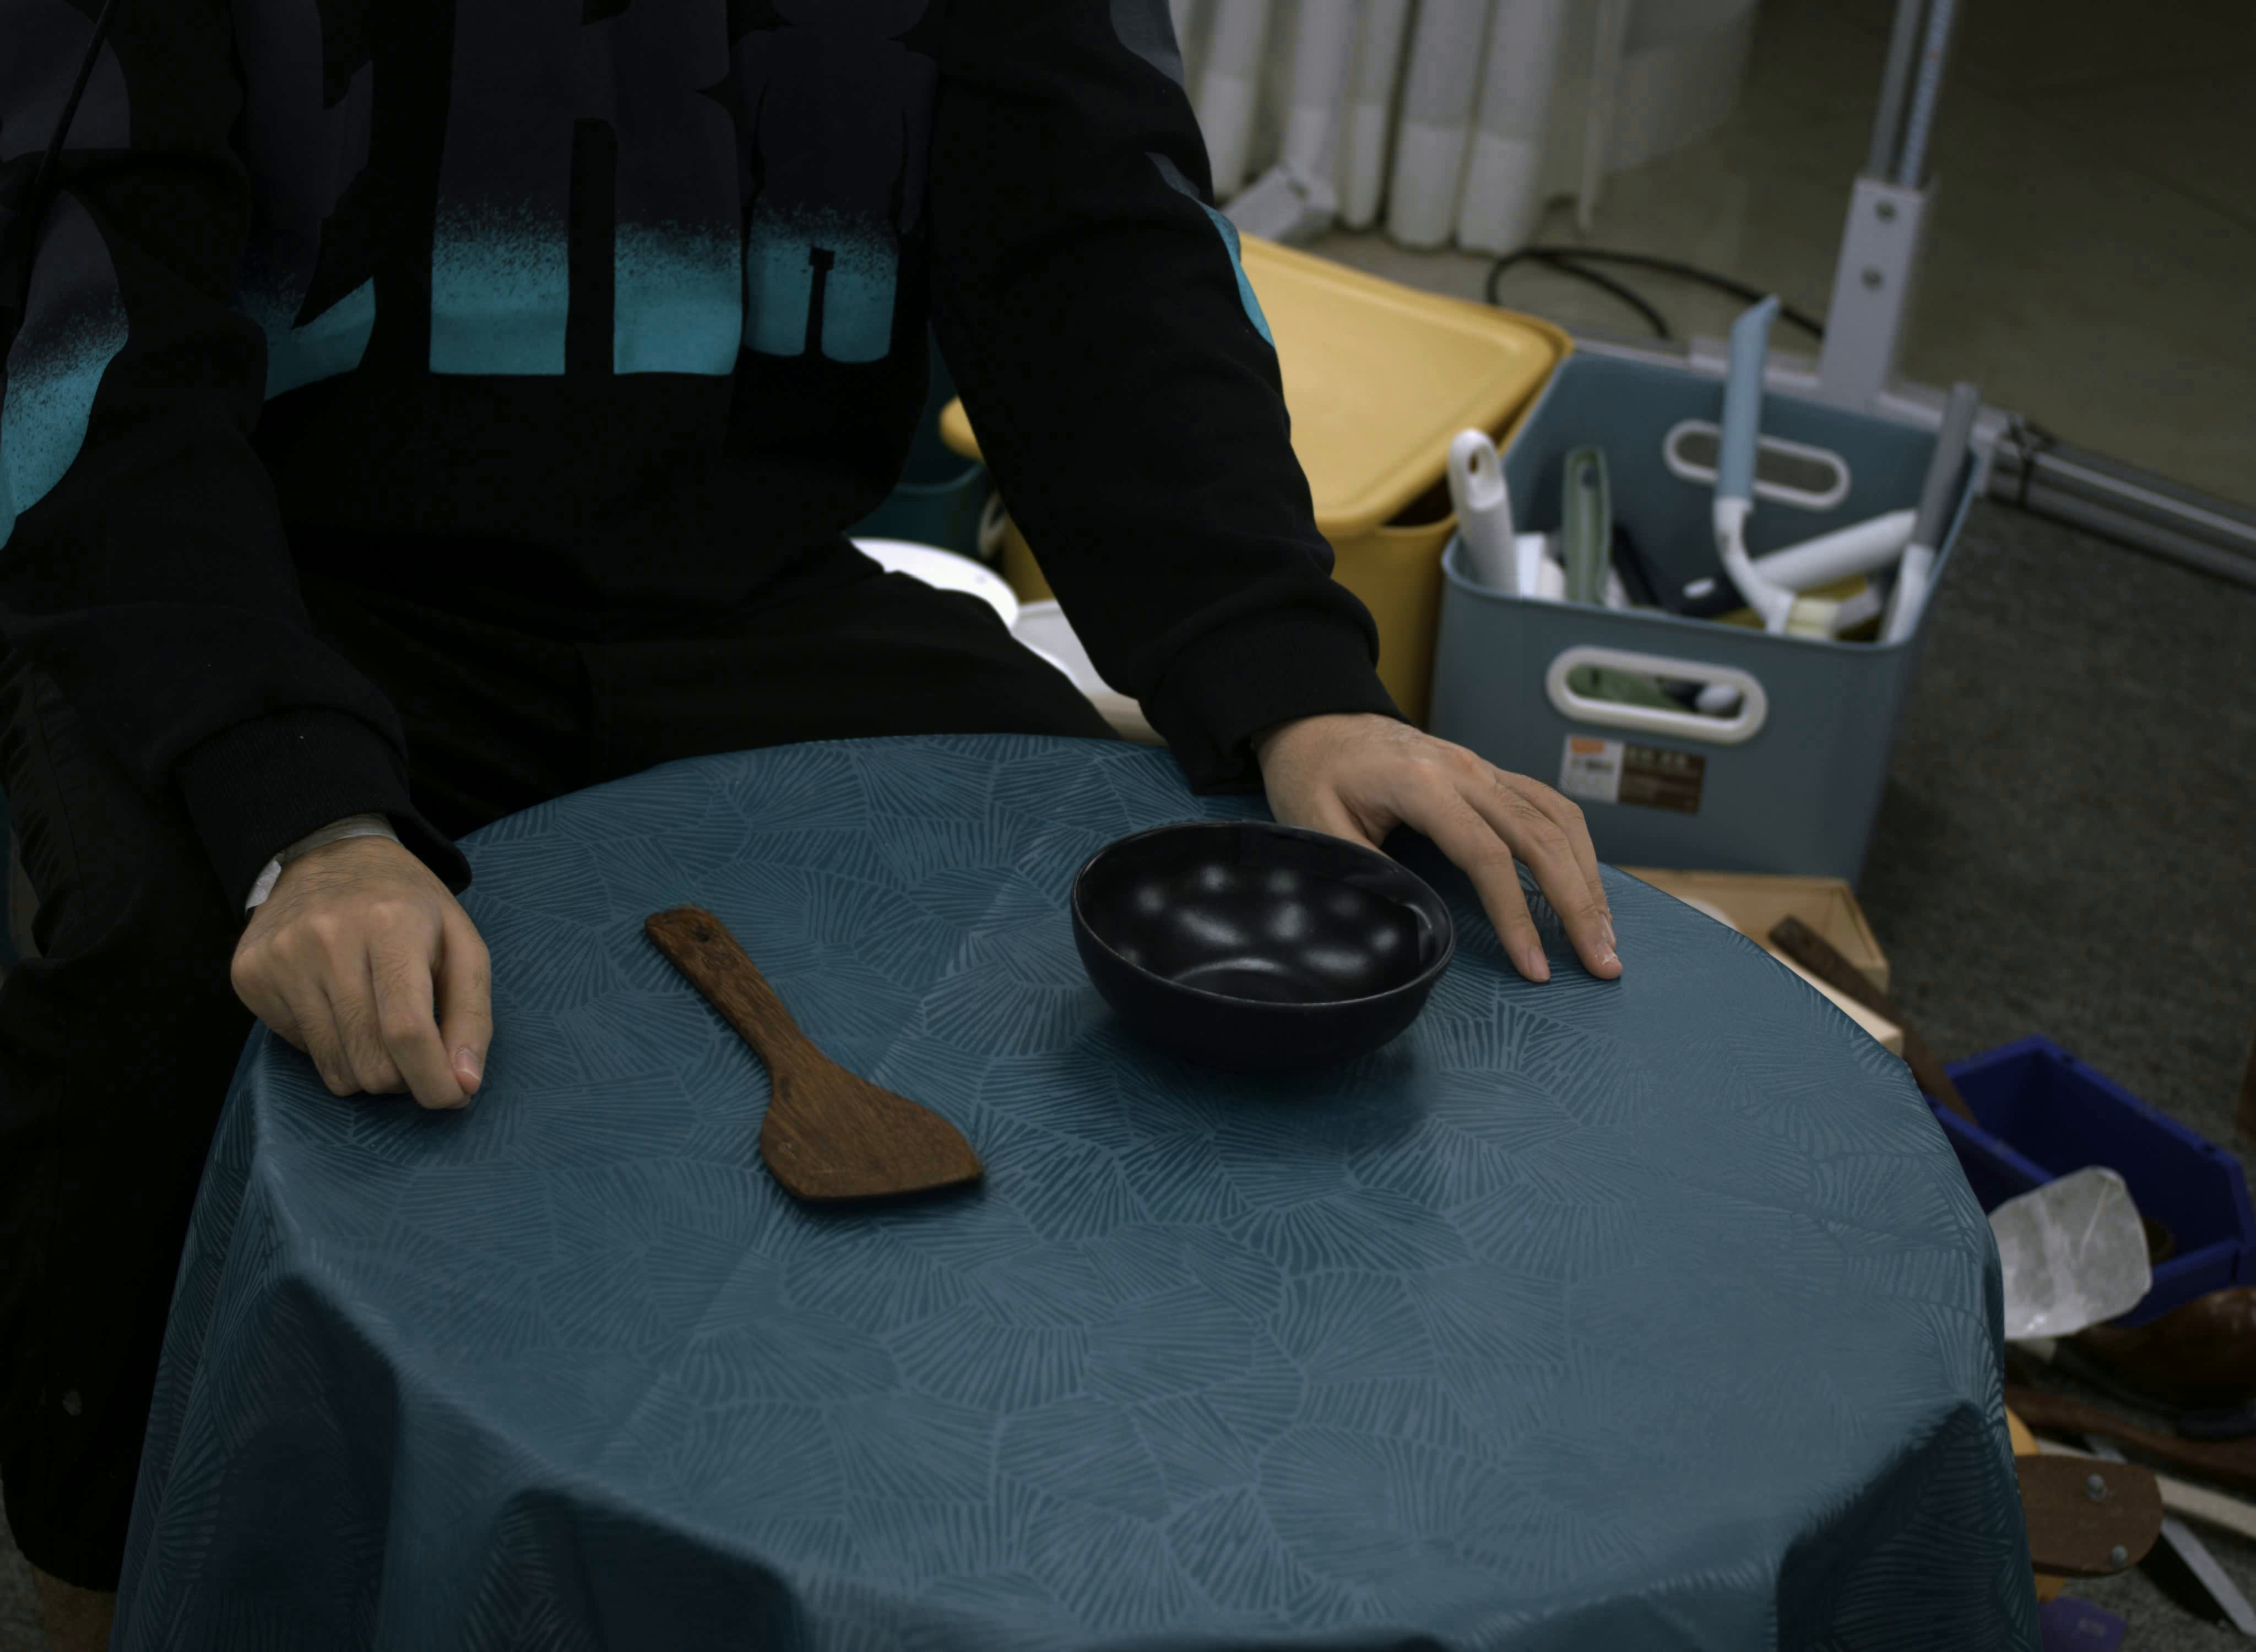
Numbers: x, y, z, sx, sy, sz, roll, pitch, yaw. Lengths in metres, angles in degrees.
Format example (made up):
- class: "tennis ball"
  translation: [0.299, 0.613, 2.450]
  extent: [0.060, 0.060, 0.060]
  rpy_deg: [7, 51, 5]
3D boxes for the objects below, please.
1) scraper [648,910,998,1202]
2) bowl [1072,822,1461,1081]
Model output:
- class: "scraper"
  translation: [-0.118, 0.079, 1.853]
  extent: [0.075, 0.011, 0.213]
  rpy_deg: [-6, 29, -26]
- class: "bowl"
  translation: [0.048, 0.052, 1.900]
  extent: [0.139, 0.049, 0.141]
  rpy_deg: [3, 28, -2]
